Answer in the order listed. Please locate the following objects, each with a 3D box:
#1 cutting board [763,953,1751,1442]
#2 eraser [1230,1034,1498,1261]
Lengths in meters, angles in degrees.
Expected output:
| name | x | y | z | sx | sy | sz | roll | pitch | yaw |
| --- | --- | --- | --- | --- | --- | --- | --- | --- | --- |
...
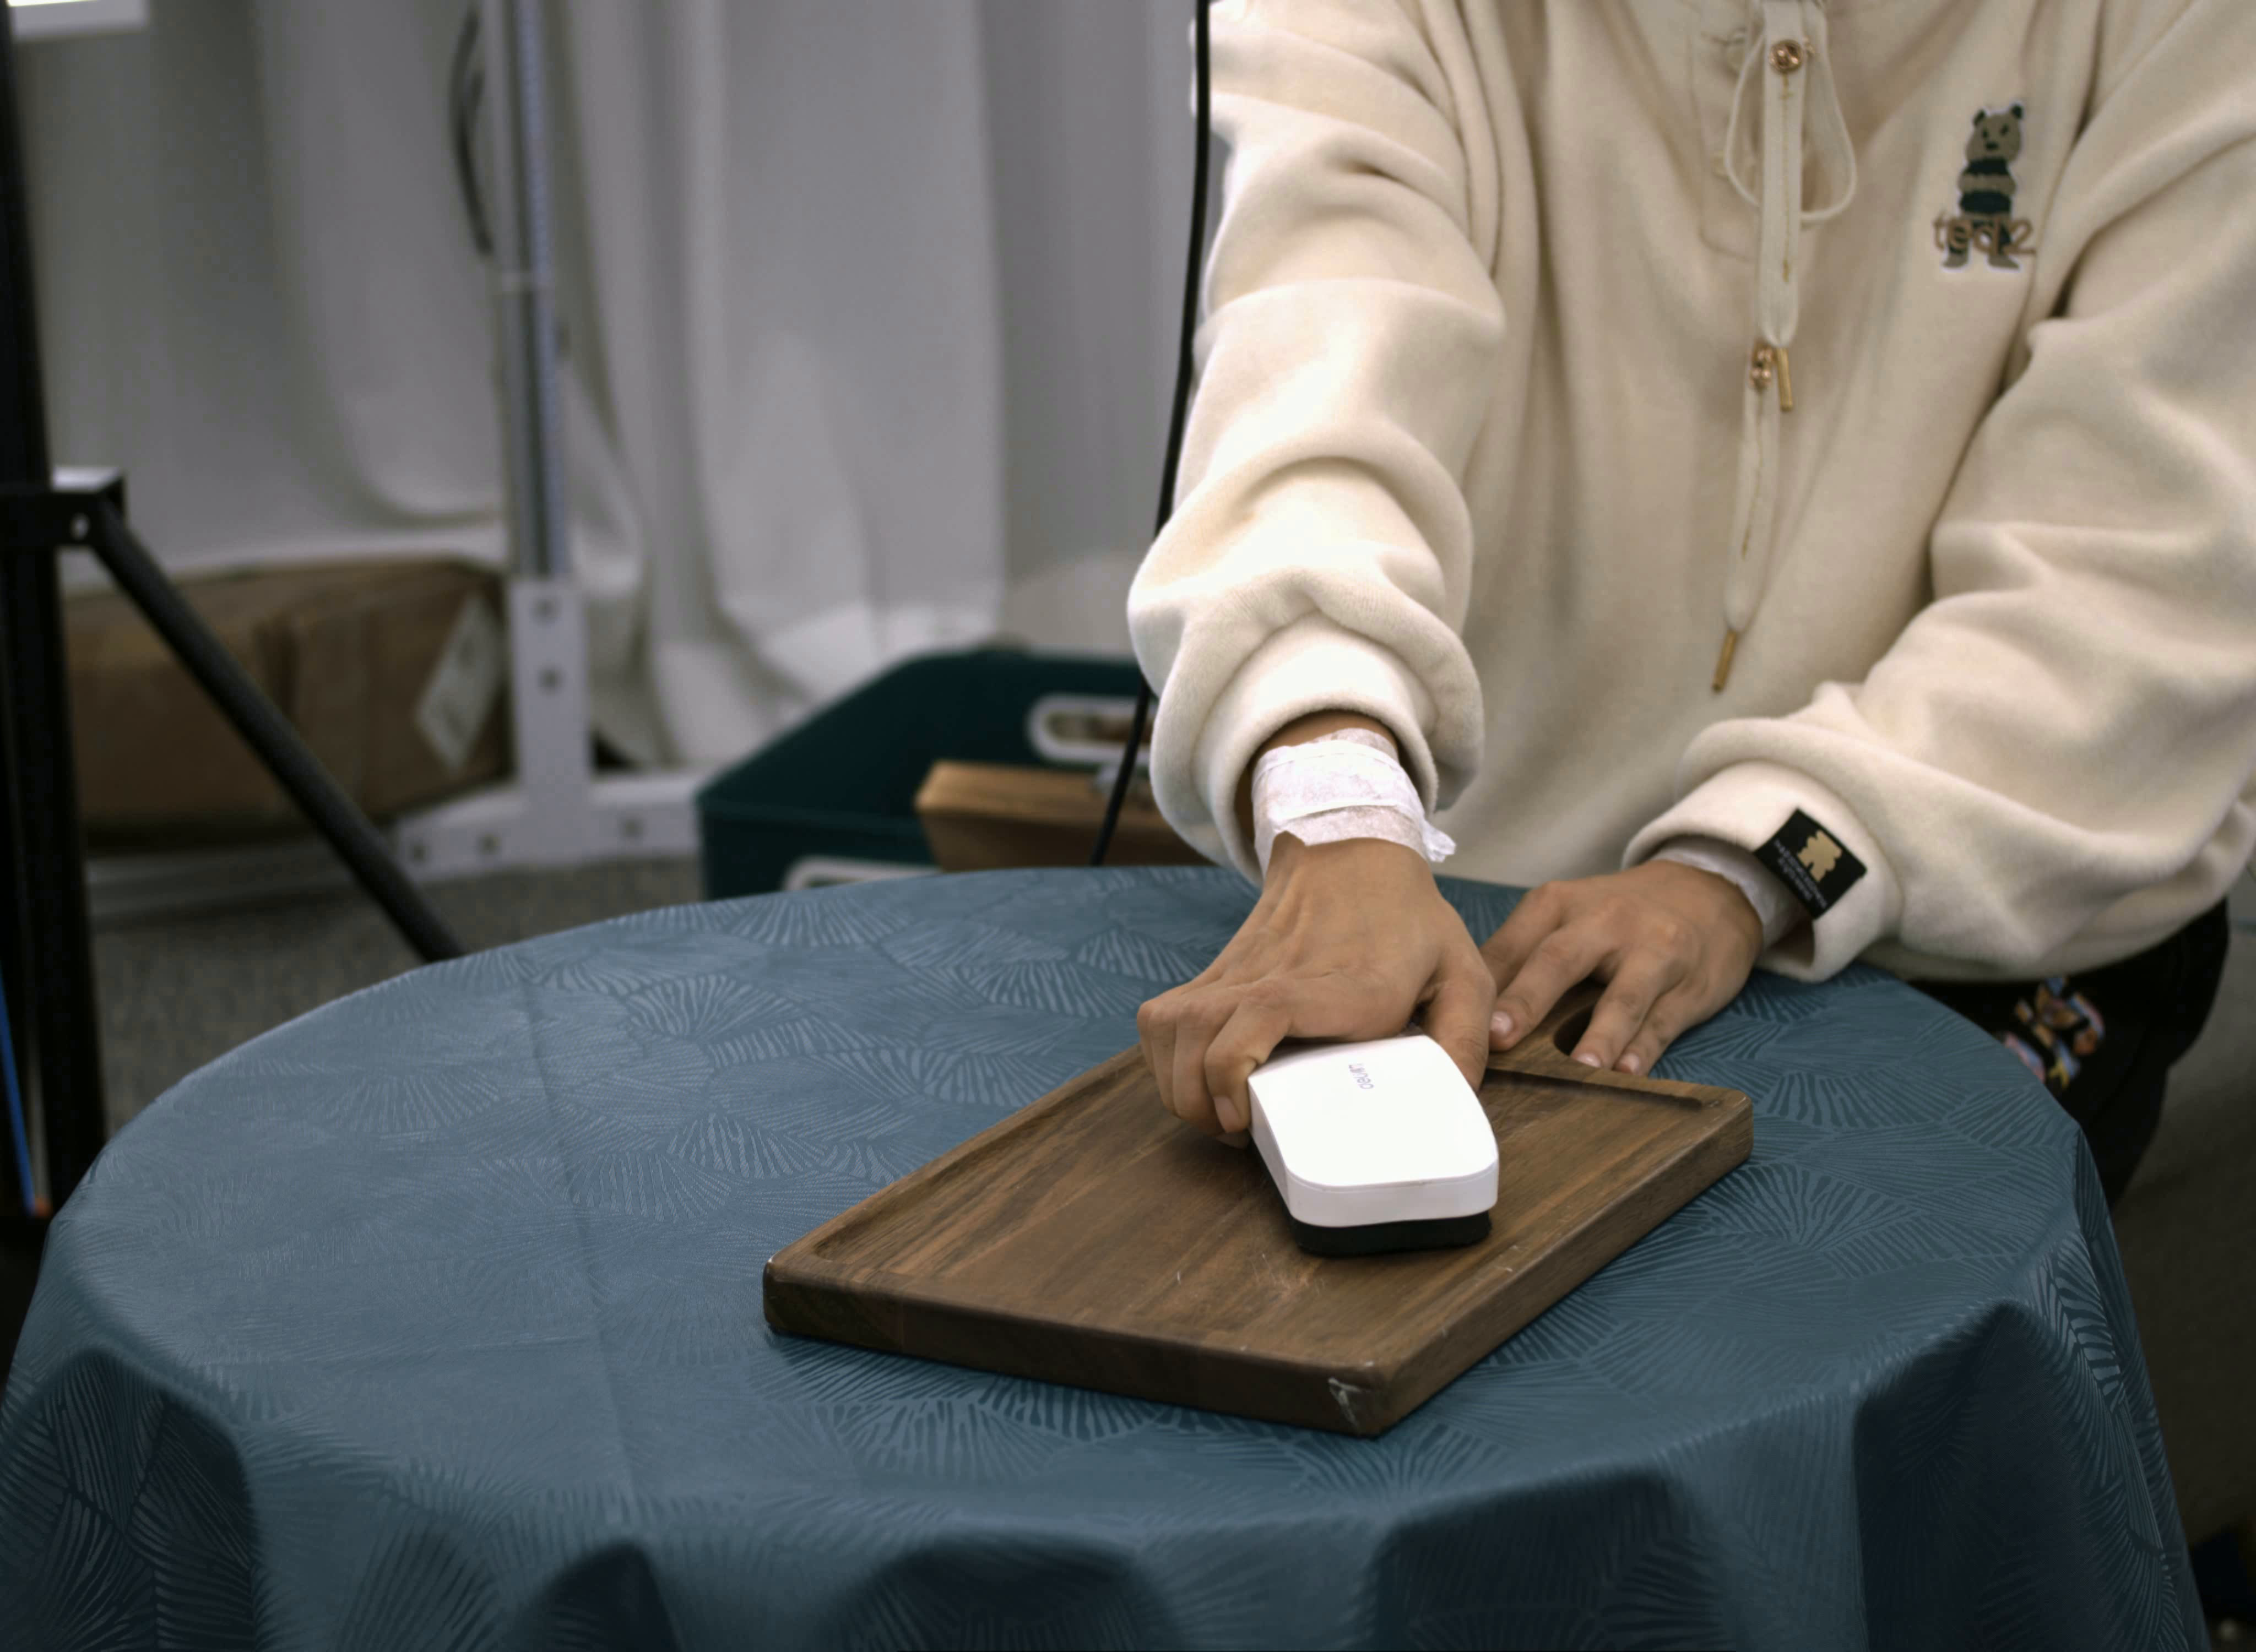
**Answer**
| name | x | y | z | sx | sy | sz | roll | pitch | yaw |
| --- | --- | --- | --- | --- | --- | --- | --- | --- | --- |
| cutting board | 0.066 | 0.096 | 1.550 | 0.204 | 0.023 | 0.346 | 7 | 19 | 29 |
| eraser | 0.068 | 0.087 | 1.509 | 0.063 | 0.034 | 0.132 | -4 | 16 | -5 |
